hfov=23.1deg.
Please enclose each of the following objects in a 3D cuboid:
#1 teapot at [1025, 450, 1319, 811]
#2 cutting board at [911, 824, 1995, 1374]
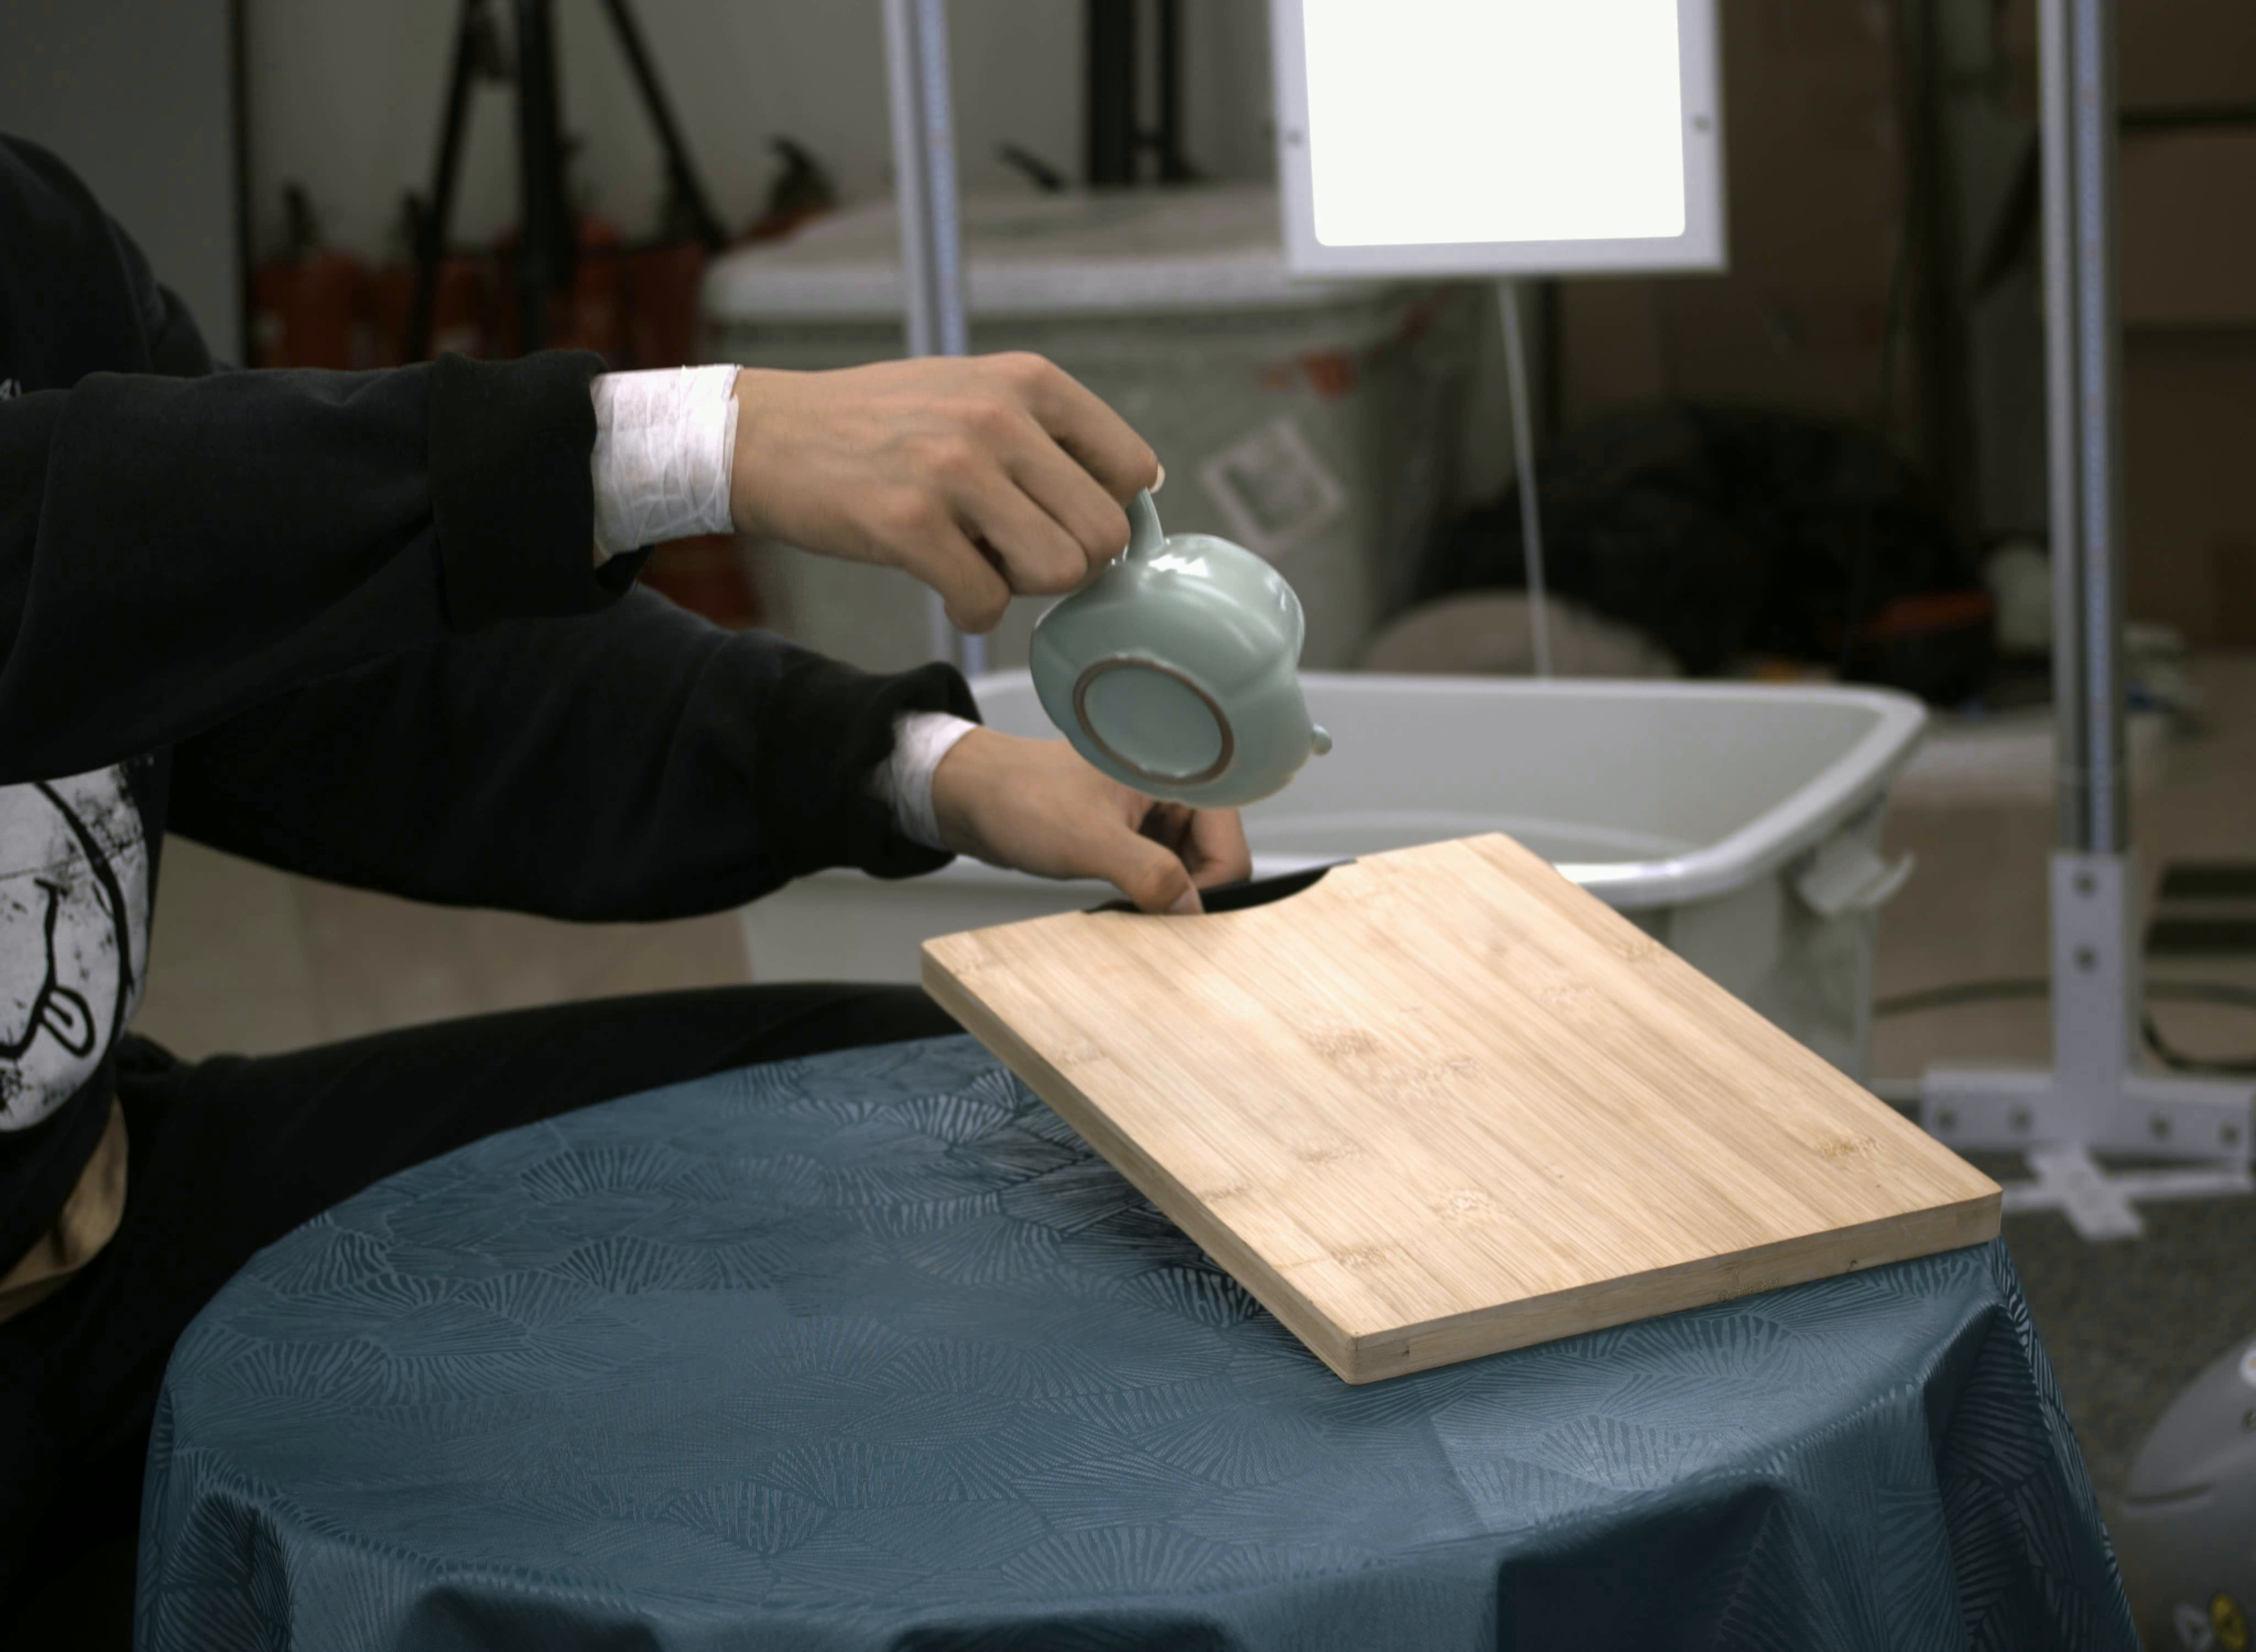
[{"bbox_3d":[0.016,-0.055,1.735,0.098,0.136,0.060,-10,36,42],"label":"teapot"},{"bbox_3d":[0.102,0.086,1.876,0.246,0.024,0.353,-11,24,-23],"label":"cutting board"}]
